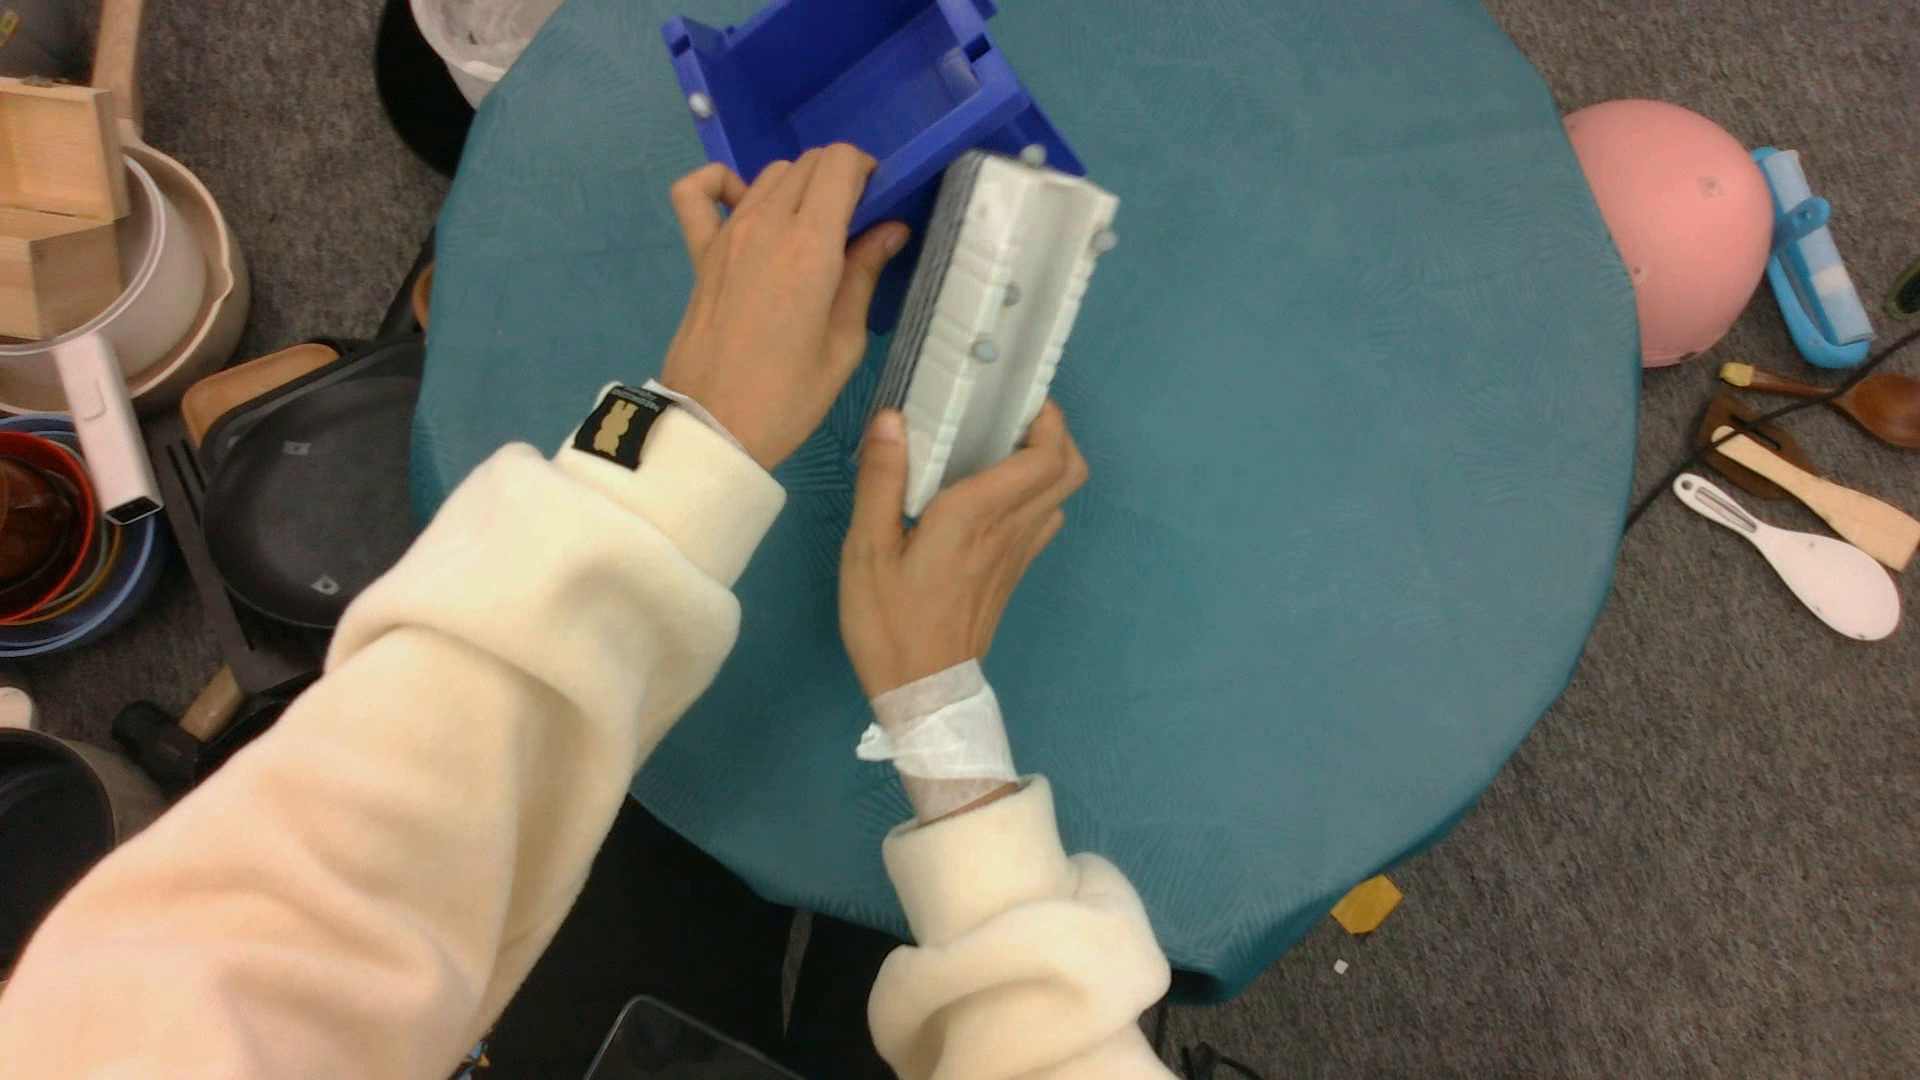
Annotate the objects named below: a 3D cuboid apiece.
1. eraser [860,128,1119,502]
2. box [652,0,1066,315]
[{"bbox_3d":[0.007,-0.082,0.519,0.050,0.134,0.046,-6,34,-45],"label":"eraser"},{"bbox_3d":[-0.048,-0.194,0.572,0.124,0.082,0.180,-32,60,17],"label":"box"}]
